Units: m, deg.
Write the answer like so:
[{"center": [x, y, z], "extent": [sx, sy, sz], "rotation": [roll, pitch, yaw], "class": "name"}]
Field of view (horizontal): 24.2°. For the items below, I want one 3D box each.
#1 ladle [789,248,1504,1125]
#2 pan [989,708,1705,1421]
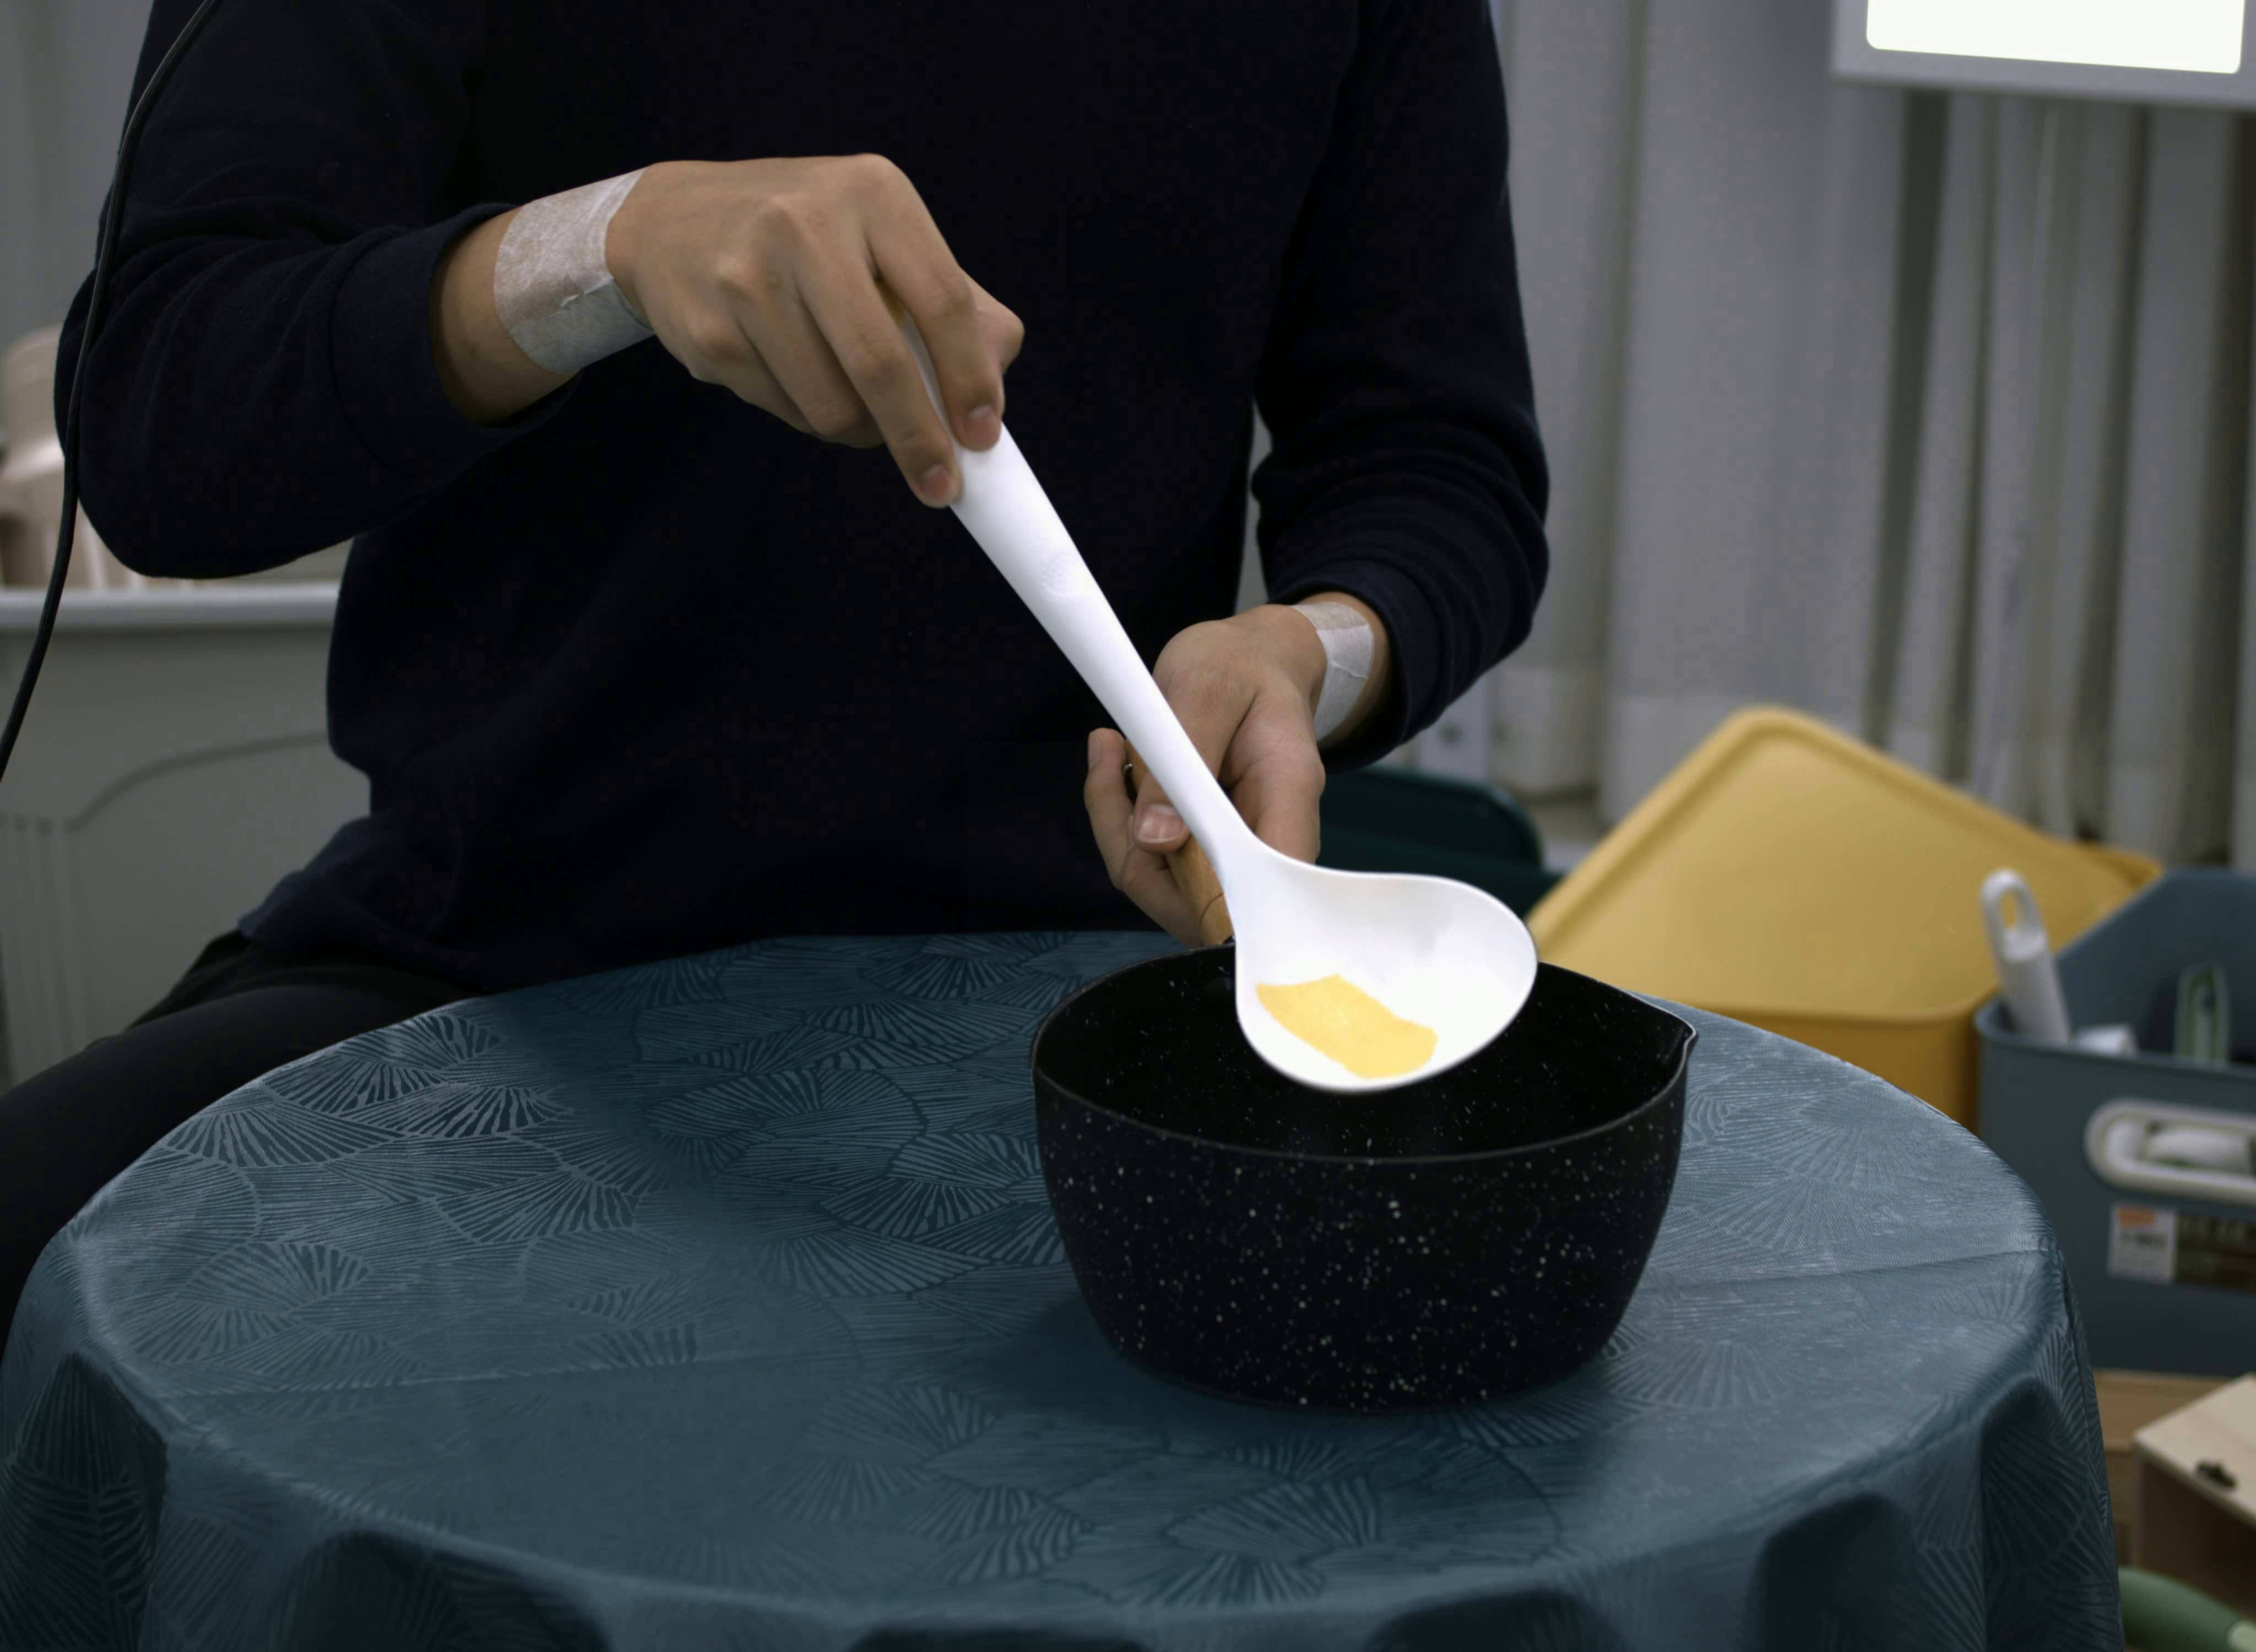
[{"center": [-0.002, -0.043, 1.506], "extent": [0.090, 0.293, 0.070], "rotation": [-33, -2, -16], "class": "ladle"}, {"center": [0.045, 0.065, 1.570], "extent": [0.208, 0.109, 0.339], "rotation": [-4, 20, -14], "class": "pan"}]
